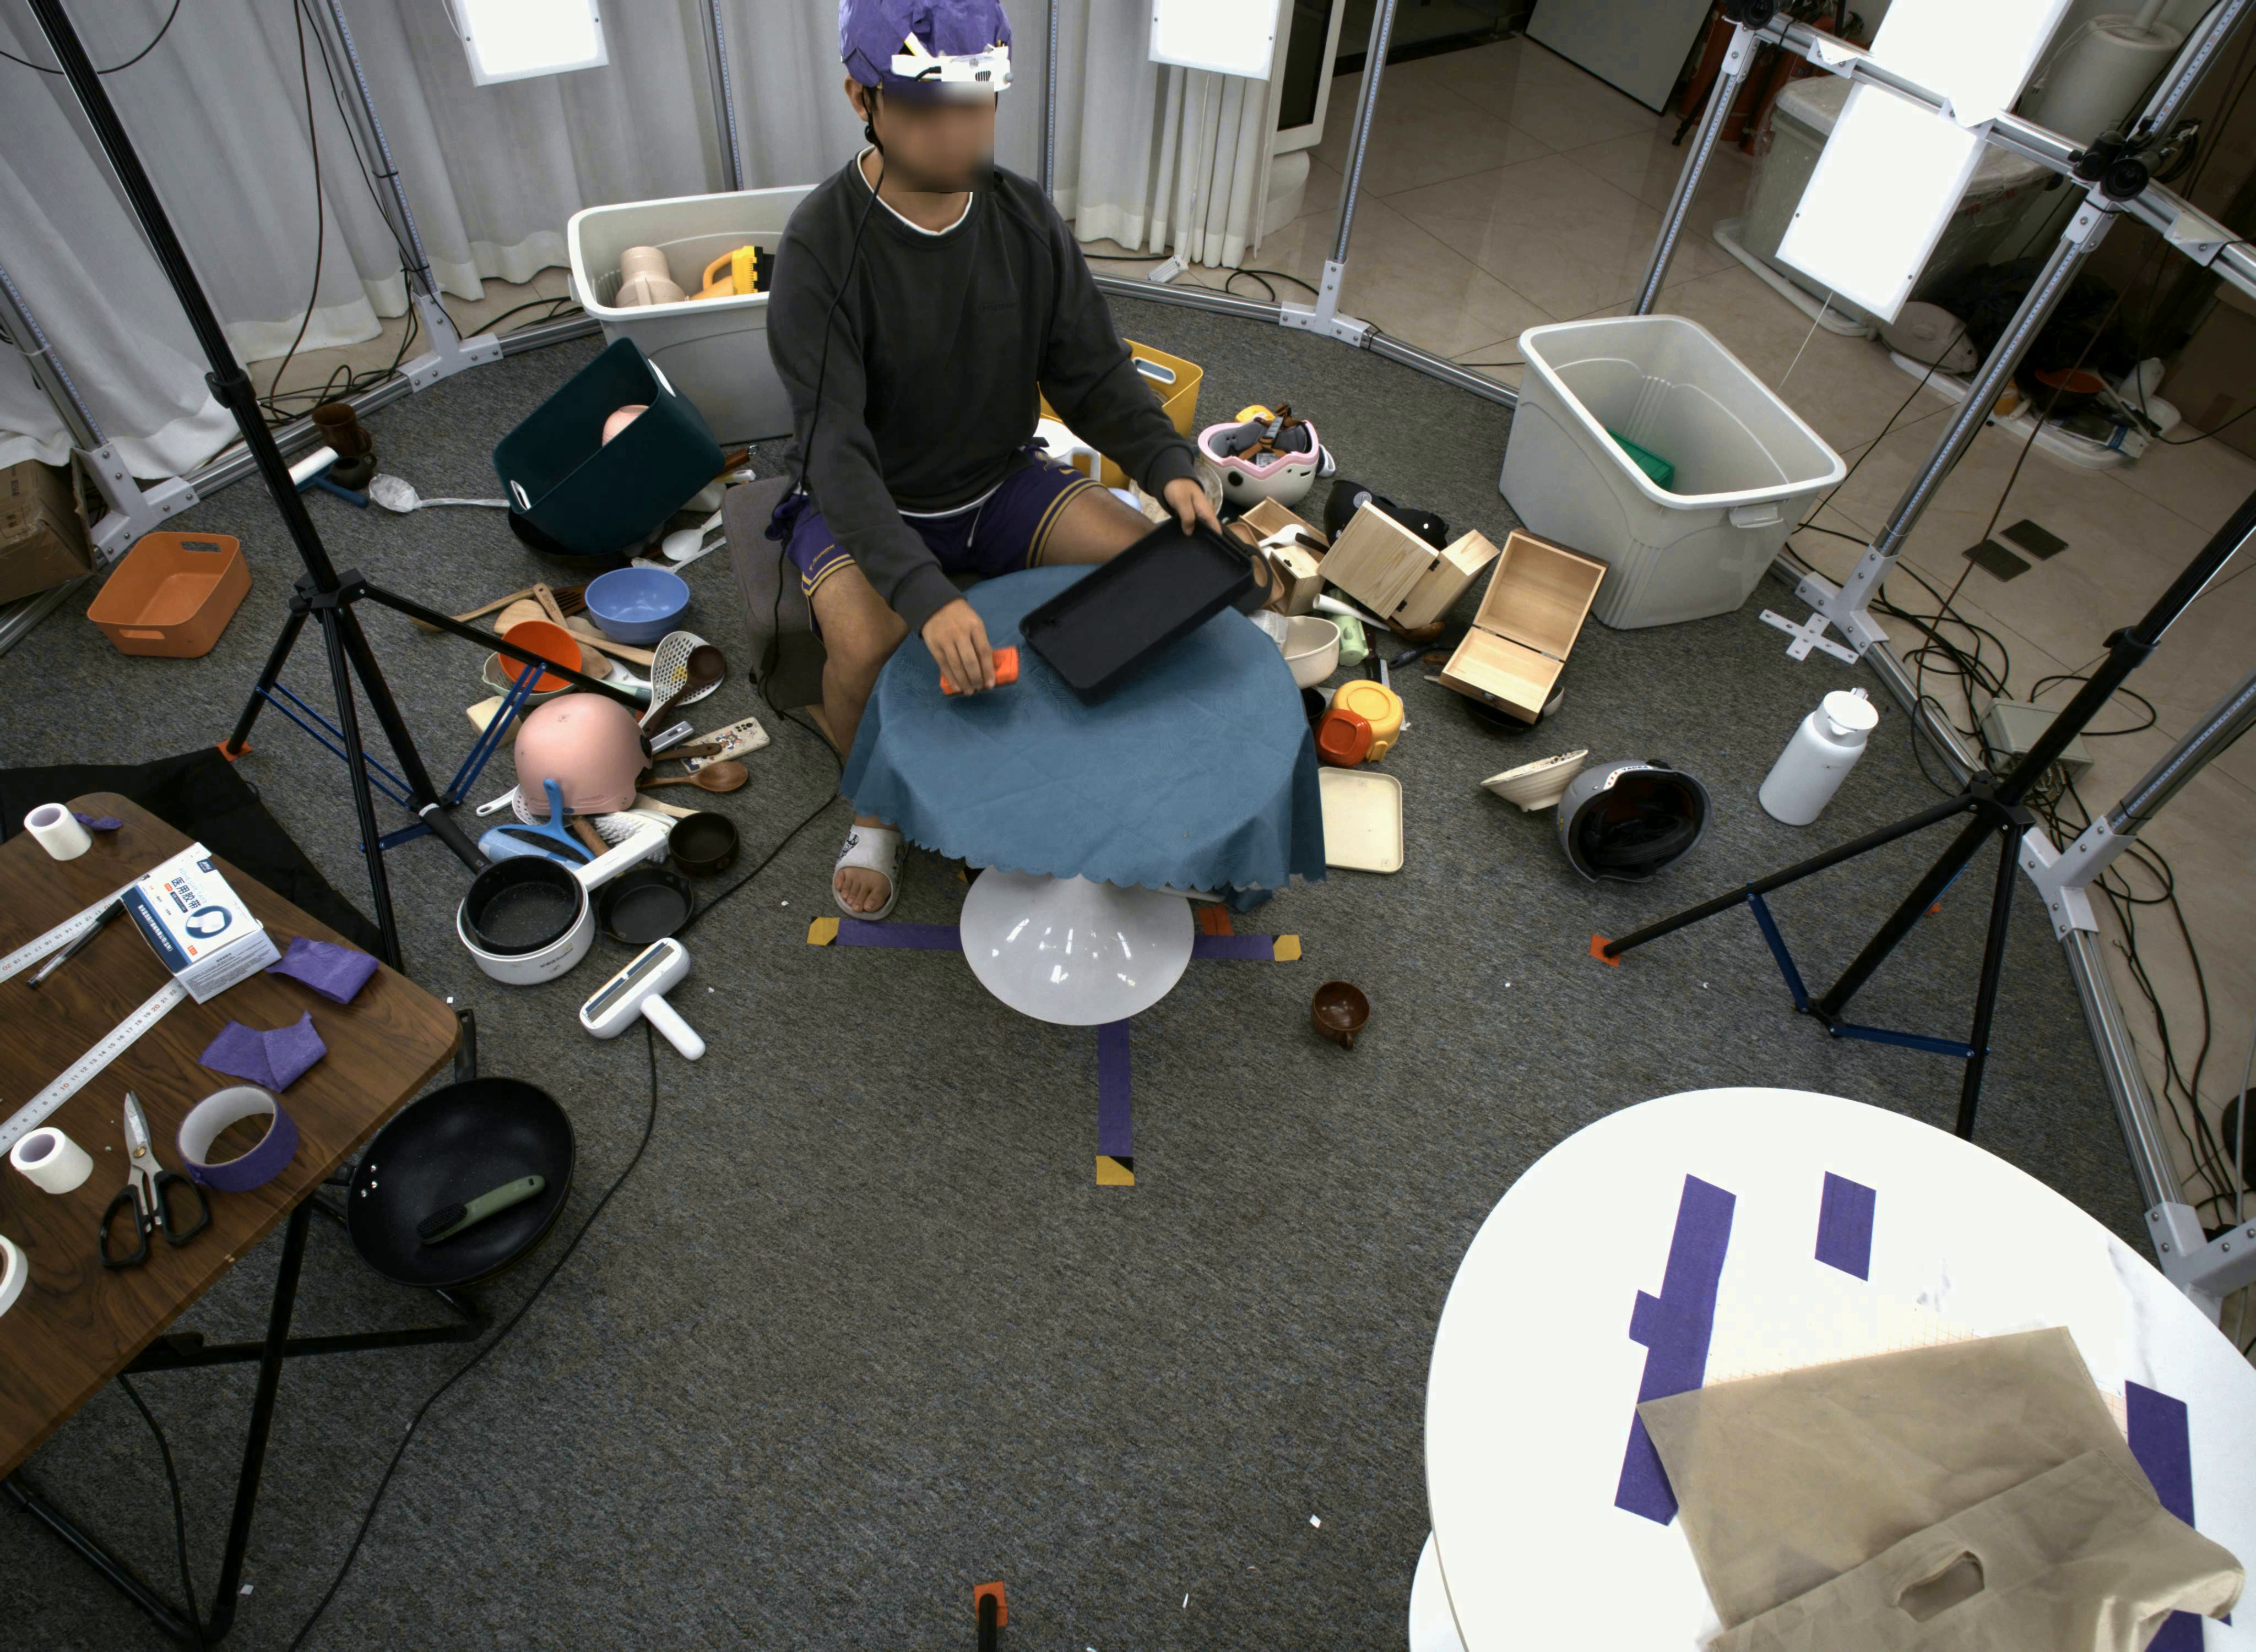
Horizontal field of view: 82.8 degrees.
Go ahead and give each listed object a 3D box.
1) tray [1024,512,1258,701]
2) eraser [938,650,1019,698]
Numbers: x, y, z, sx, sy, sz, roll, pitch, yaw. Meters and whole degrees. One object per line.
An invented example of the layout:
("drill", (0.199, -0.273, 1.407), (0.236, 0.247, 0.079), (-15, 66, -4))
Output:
("tray", (0.020, -0.322, 1.859), (0.319, 0.036, 0.188), (-37, 53, -11))
("eraser", (-0.206, -0.211, 1.780), (0.108, 0.022, 0.060), (-11, 38, 7))
